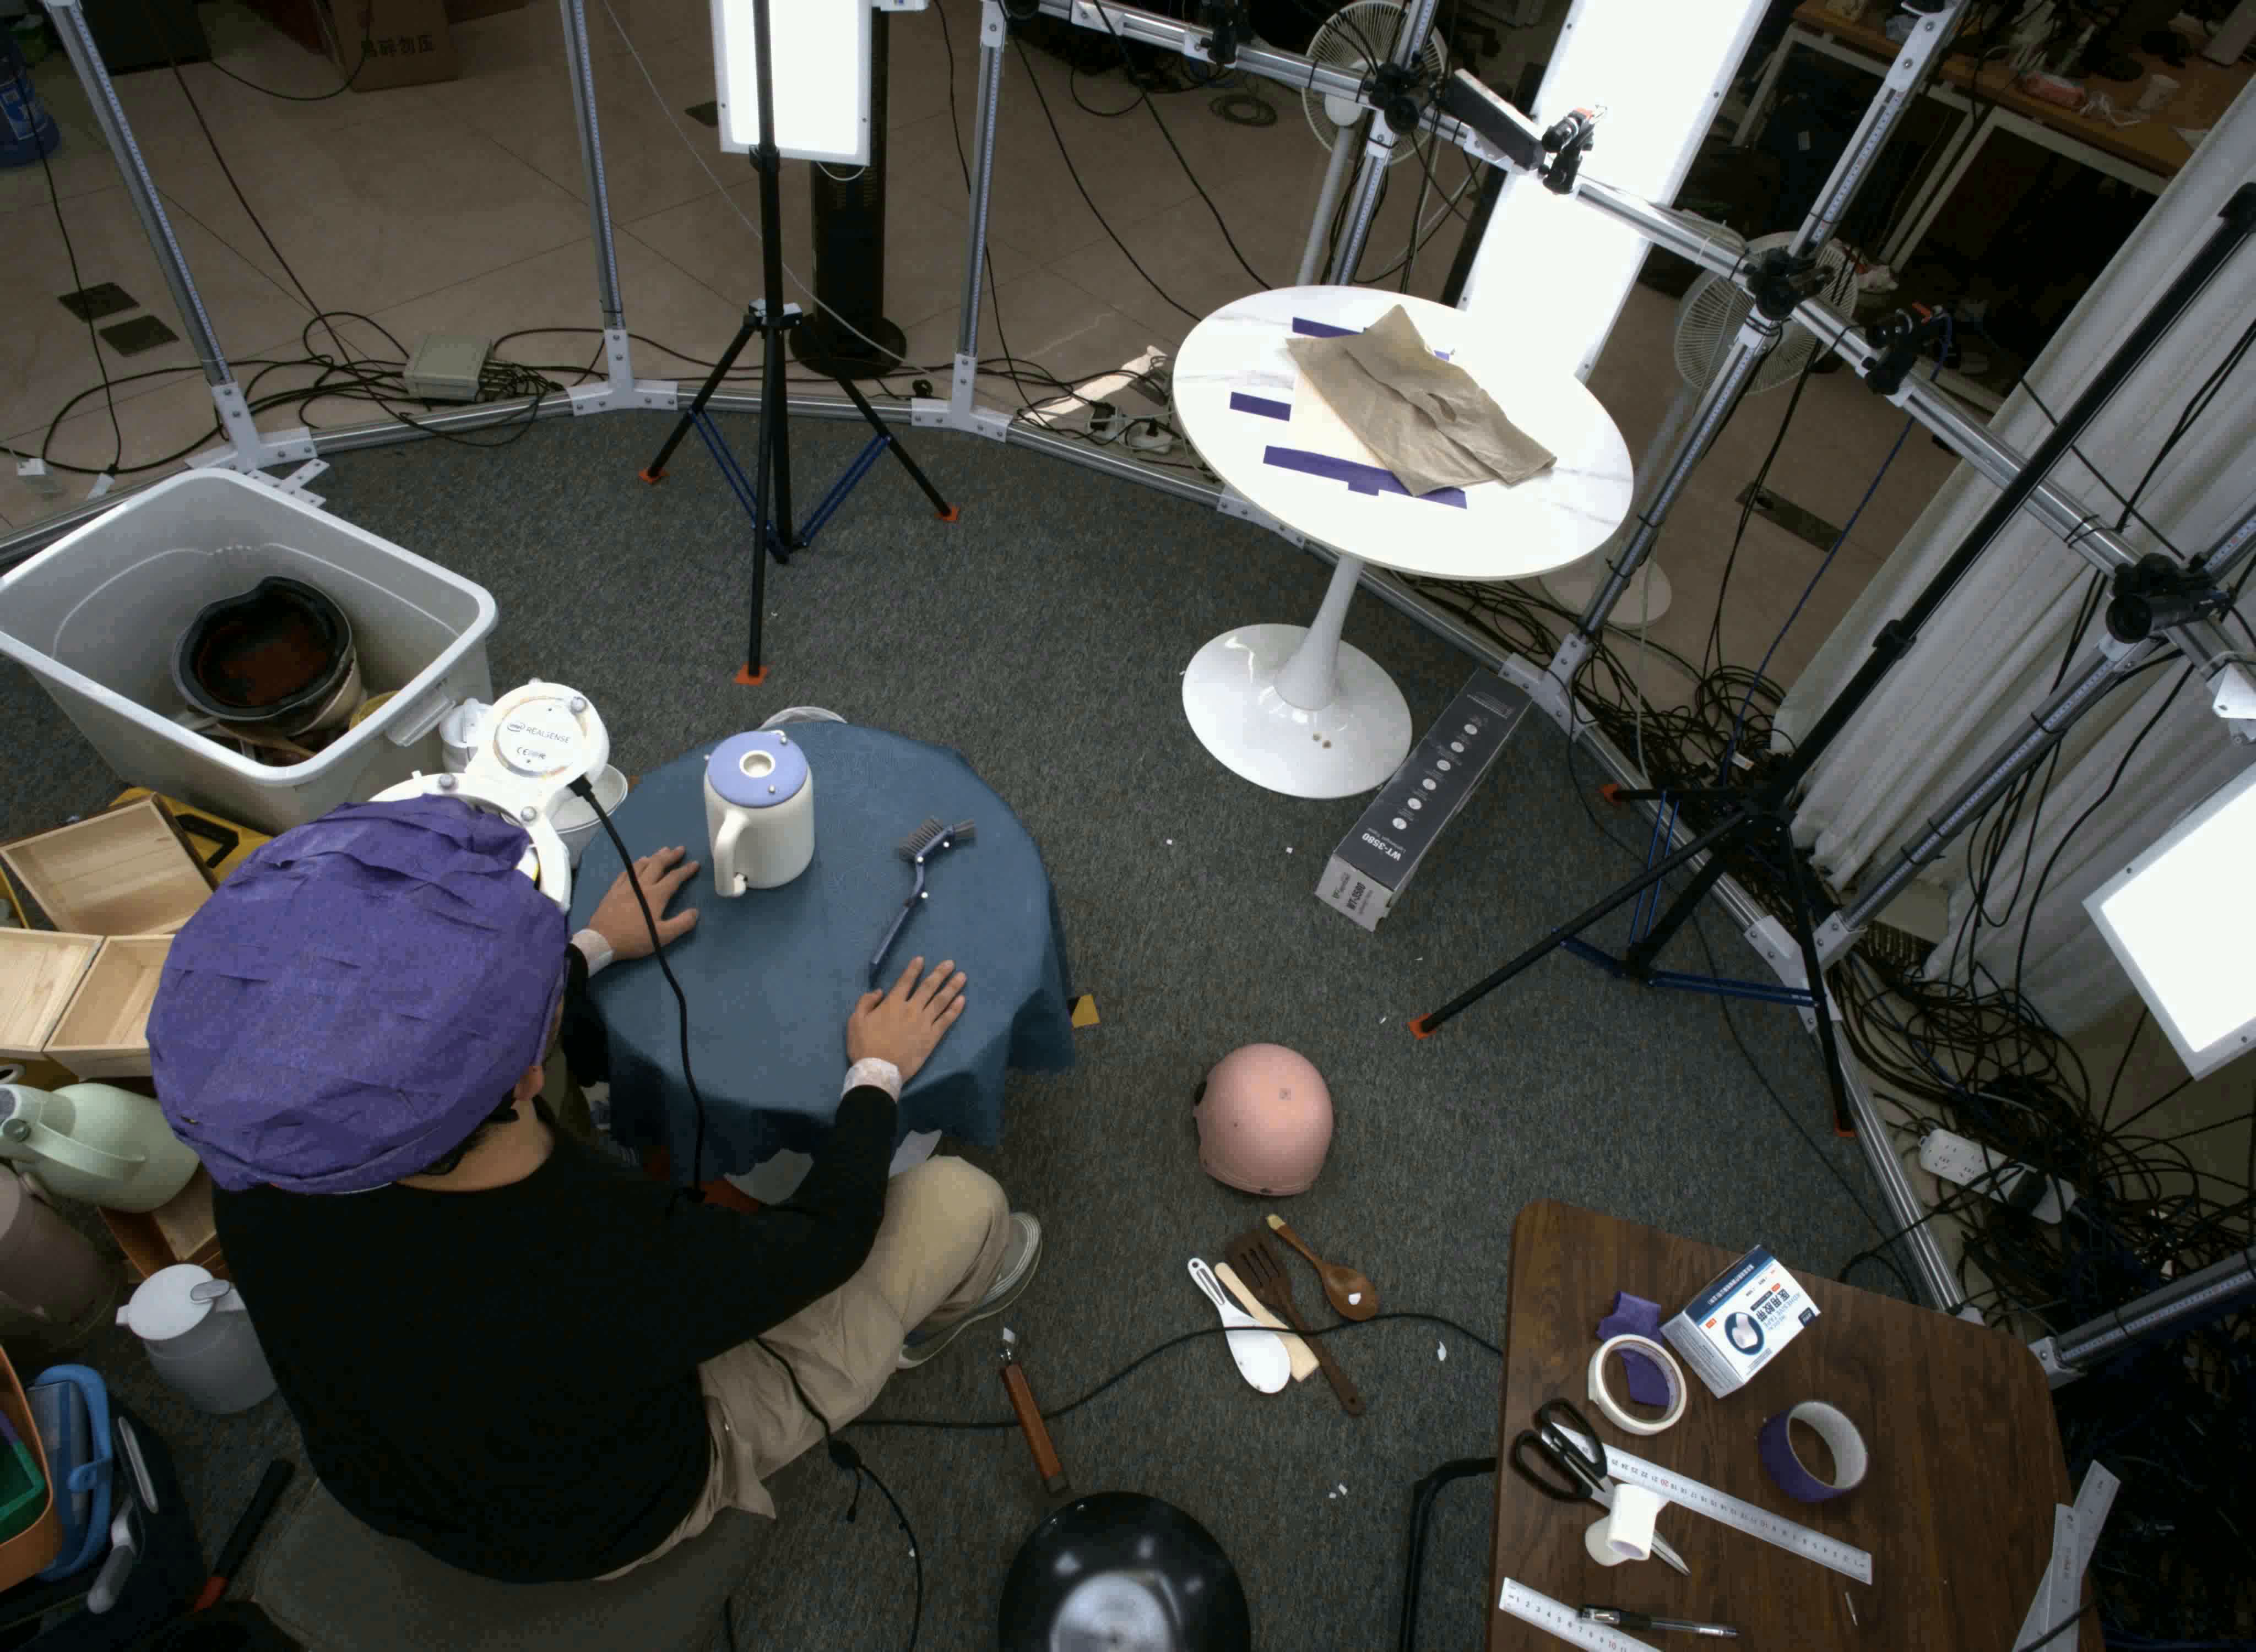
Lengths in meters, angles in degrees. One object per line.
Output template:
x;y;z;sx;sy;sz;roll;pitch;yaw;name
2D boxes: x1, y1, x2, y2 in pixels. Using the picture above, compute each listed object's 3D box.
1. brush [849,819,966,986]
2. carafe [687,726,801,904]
-0.285;0.092;1.667;0.095;0.034;0.269;17;51;-5;brush
-0.481;-0.002;1.594;0.131;0.186;0.188;14;52;-1;carafe
